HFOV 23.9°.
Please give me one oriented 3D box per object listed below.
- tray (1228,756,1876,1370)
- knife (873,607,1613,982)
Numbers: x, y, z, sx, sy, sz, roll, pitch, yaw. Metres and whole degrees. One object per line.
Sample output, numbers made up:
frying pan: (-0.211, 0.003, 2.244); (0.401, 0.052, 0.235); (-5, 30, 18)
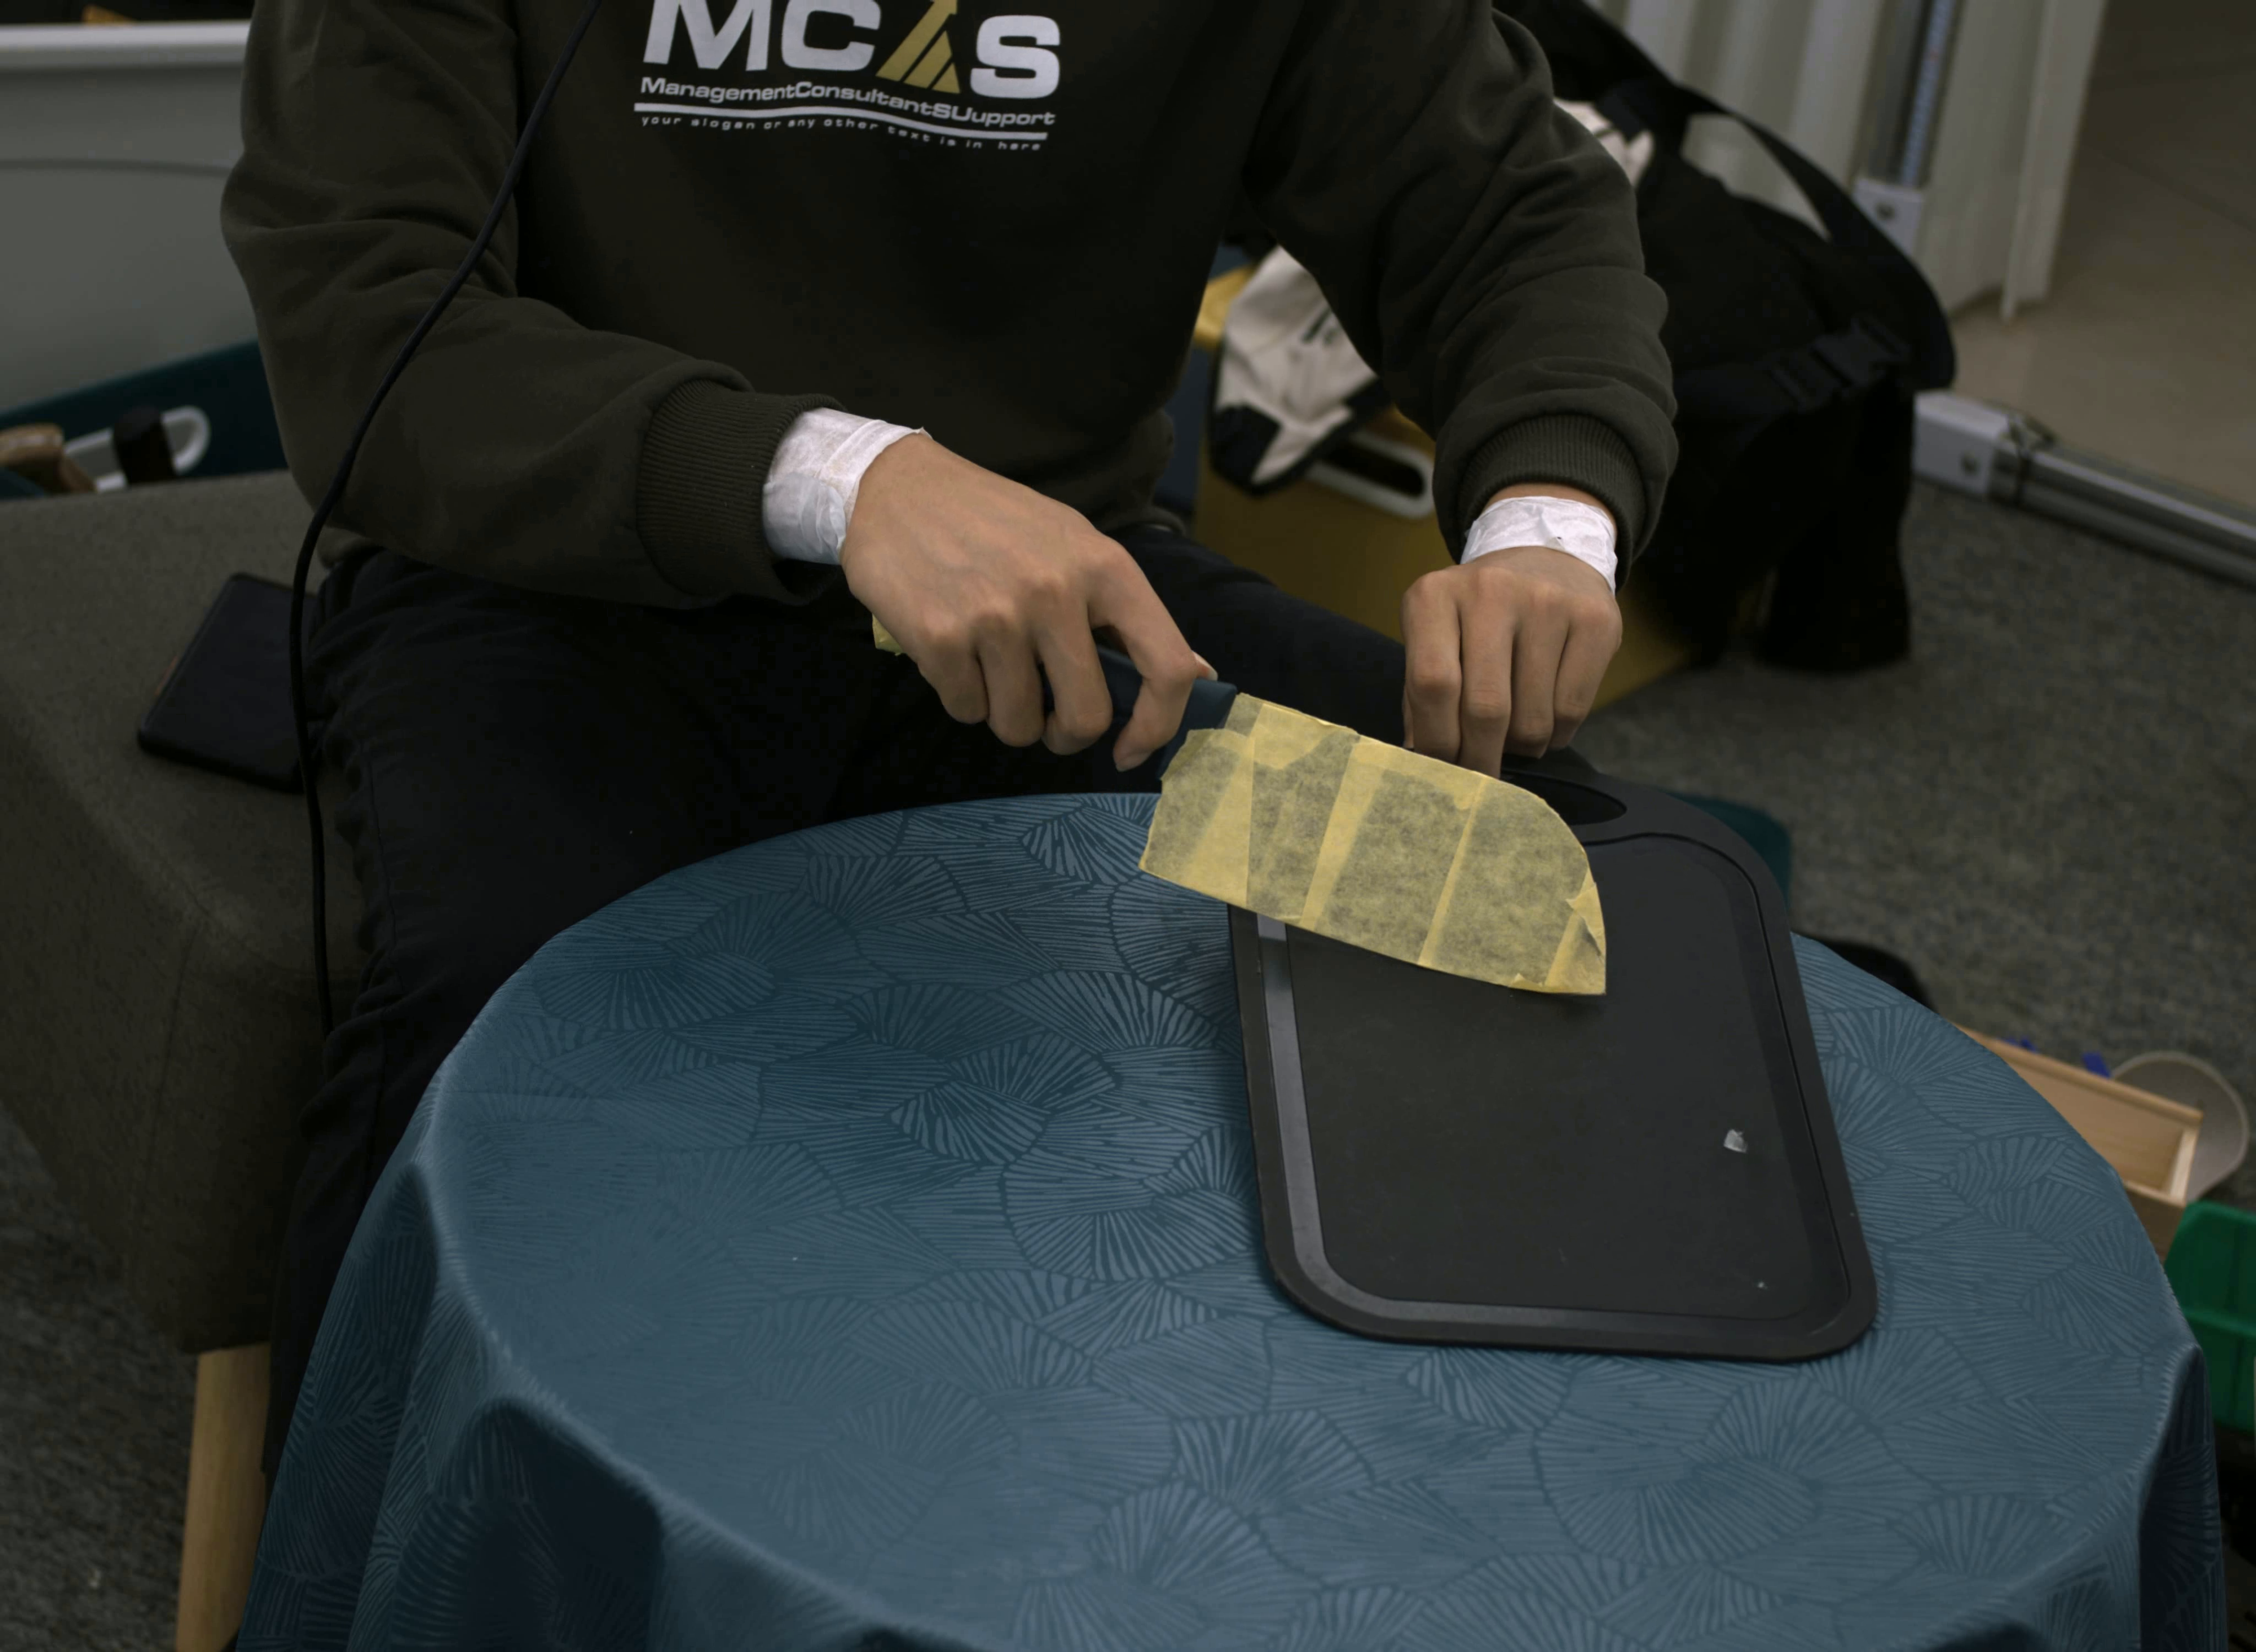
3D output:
tray: (0.143, 0.073, 1.870); (0.210, 0.010, 0.328); (5, 37, -6)
knife: (0.038, -0.012, 1.906); (0.289, 0.081, 0.027); (21, -4, 5)
